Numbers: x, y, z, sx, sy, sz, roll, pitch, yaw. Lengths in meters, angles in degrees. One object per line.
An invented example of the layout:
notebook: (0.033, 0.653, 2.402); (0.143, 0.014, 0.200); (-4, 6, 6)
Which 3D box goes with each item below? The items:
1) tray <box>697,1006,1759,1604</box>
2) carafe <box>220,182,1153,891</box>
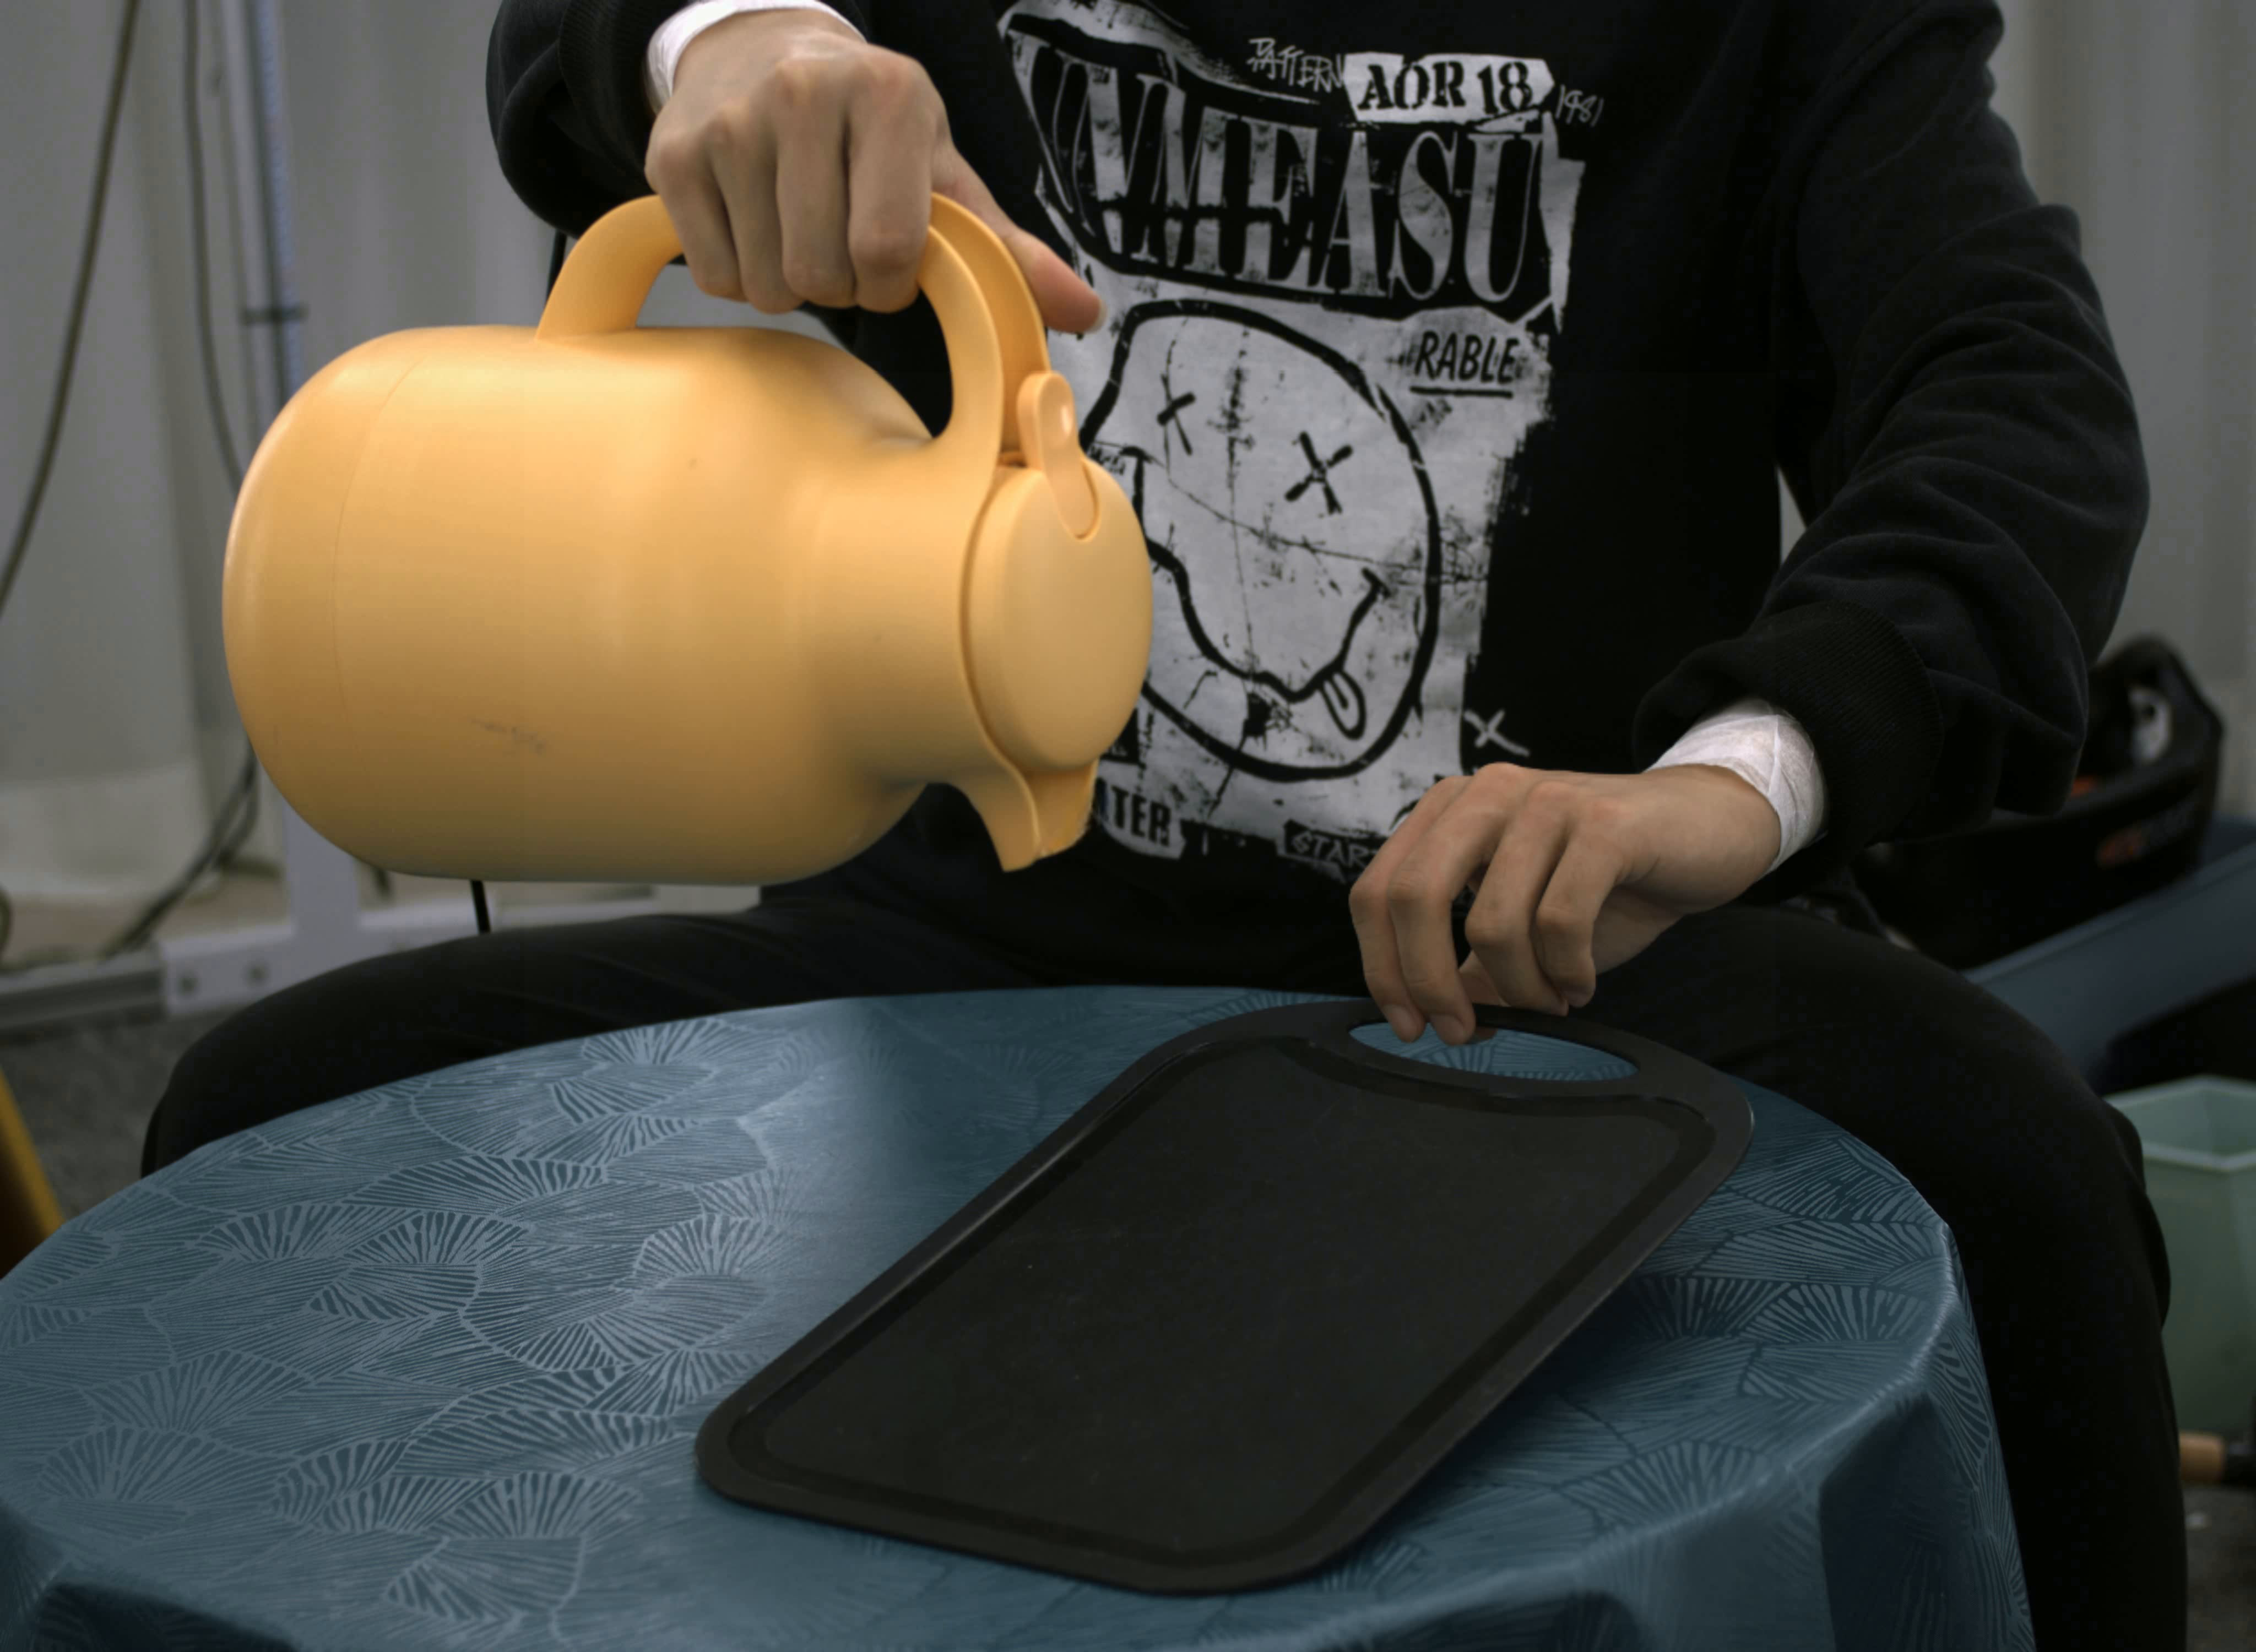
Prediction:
tray: (0.036, 0.124, 1.556); (0.212, 0.010, 0.327); (8, 28, 33)
carafe: (-0.121, -0.082, 1.568); (0.261, 0.202, 0.163); (3, 9, 28)
